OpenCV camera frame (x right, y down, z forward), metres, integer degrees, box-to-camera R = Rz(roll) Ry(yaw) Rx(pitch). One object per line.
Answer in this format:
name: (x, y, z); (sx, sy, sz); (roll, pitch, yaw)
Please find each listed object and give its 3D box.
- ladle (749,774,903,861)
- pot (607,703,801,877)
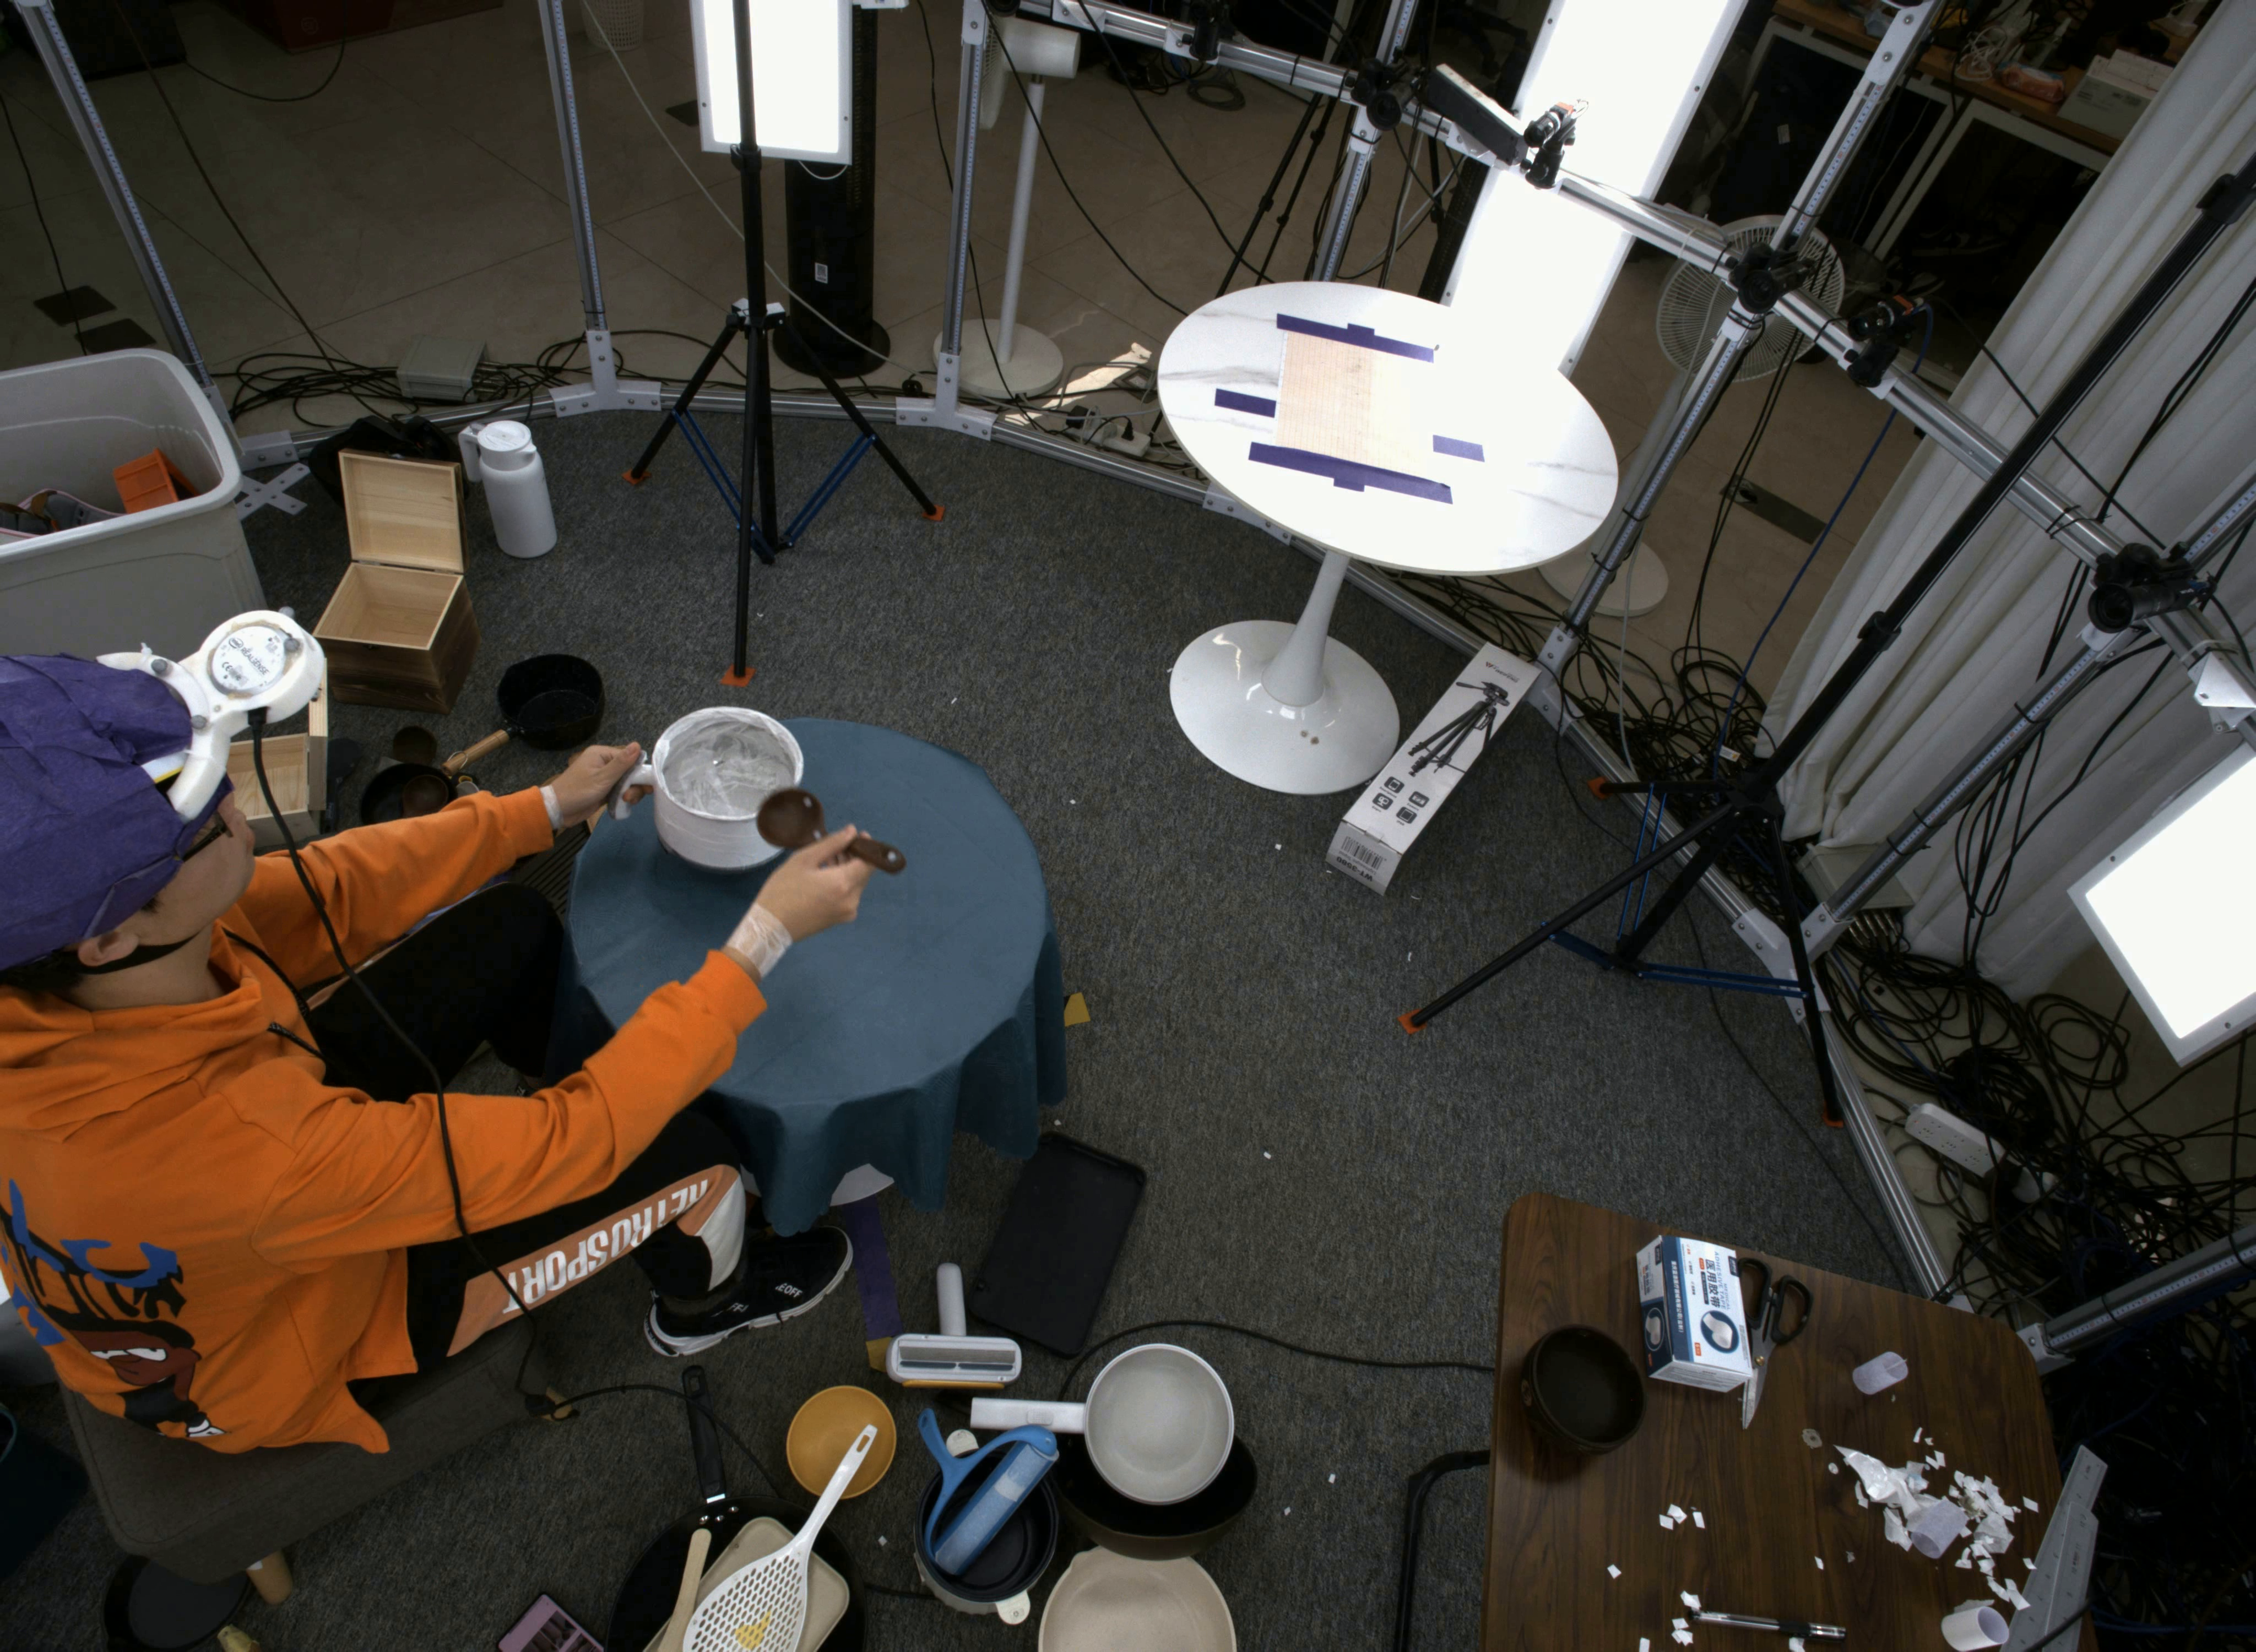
ladle: (-0.316, -0.008, 1.343); (0.251, 0.067, 0.076); (11, 57, 50)
pot: (-0.519, -0.041, 1.570); (0.235, 0.139, 0.175); (3, 52, -18)
